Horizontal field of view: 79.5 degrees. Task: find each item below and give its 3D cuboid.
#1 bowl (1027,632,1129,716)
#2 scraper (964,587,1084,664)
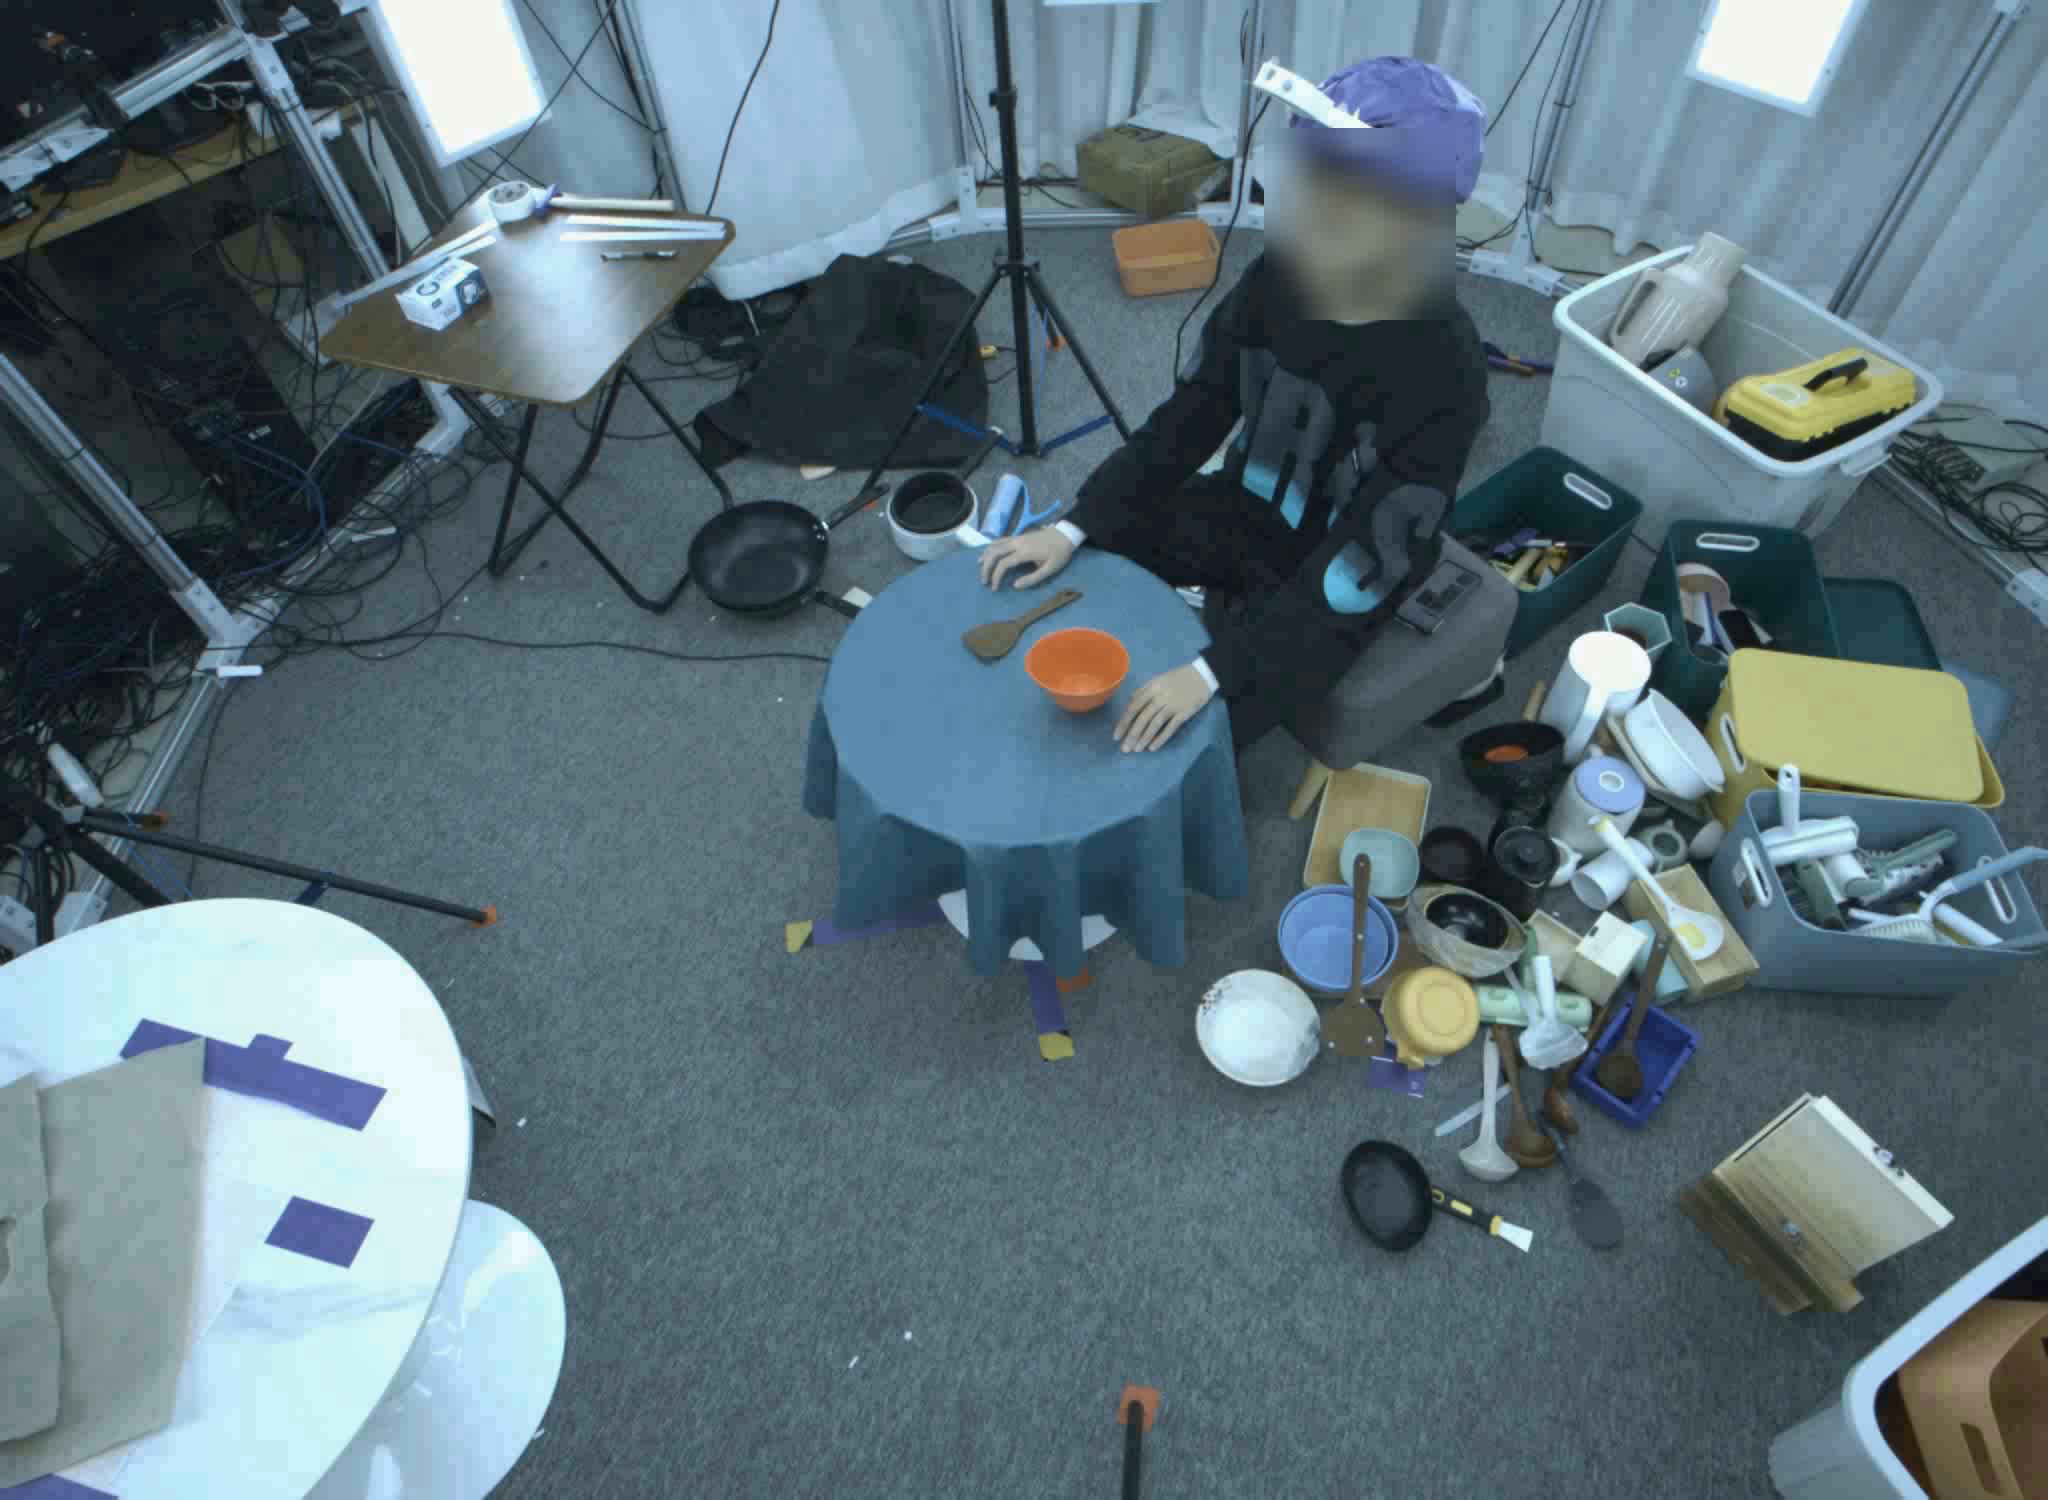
[{"bbox_3d":[0.081,-0.099,1.804,0.148,0.106,0.146,-1,53,3],"label":"bowl"},{"bbox_3d":[0.006,-0.202,1.935,0.213,0.011,0.074,-32,61,-20],"label":"scraper"}]
